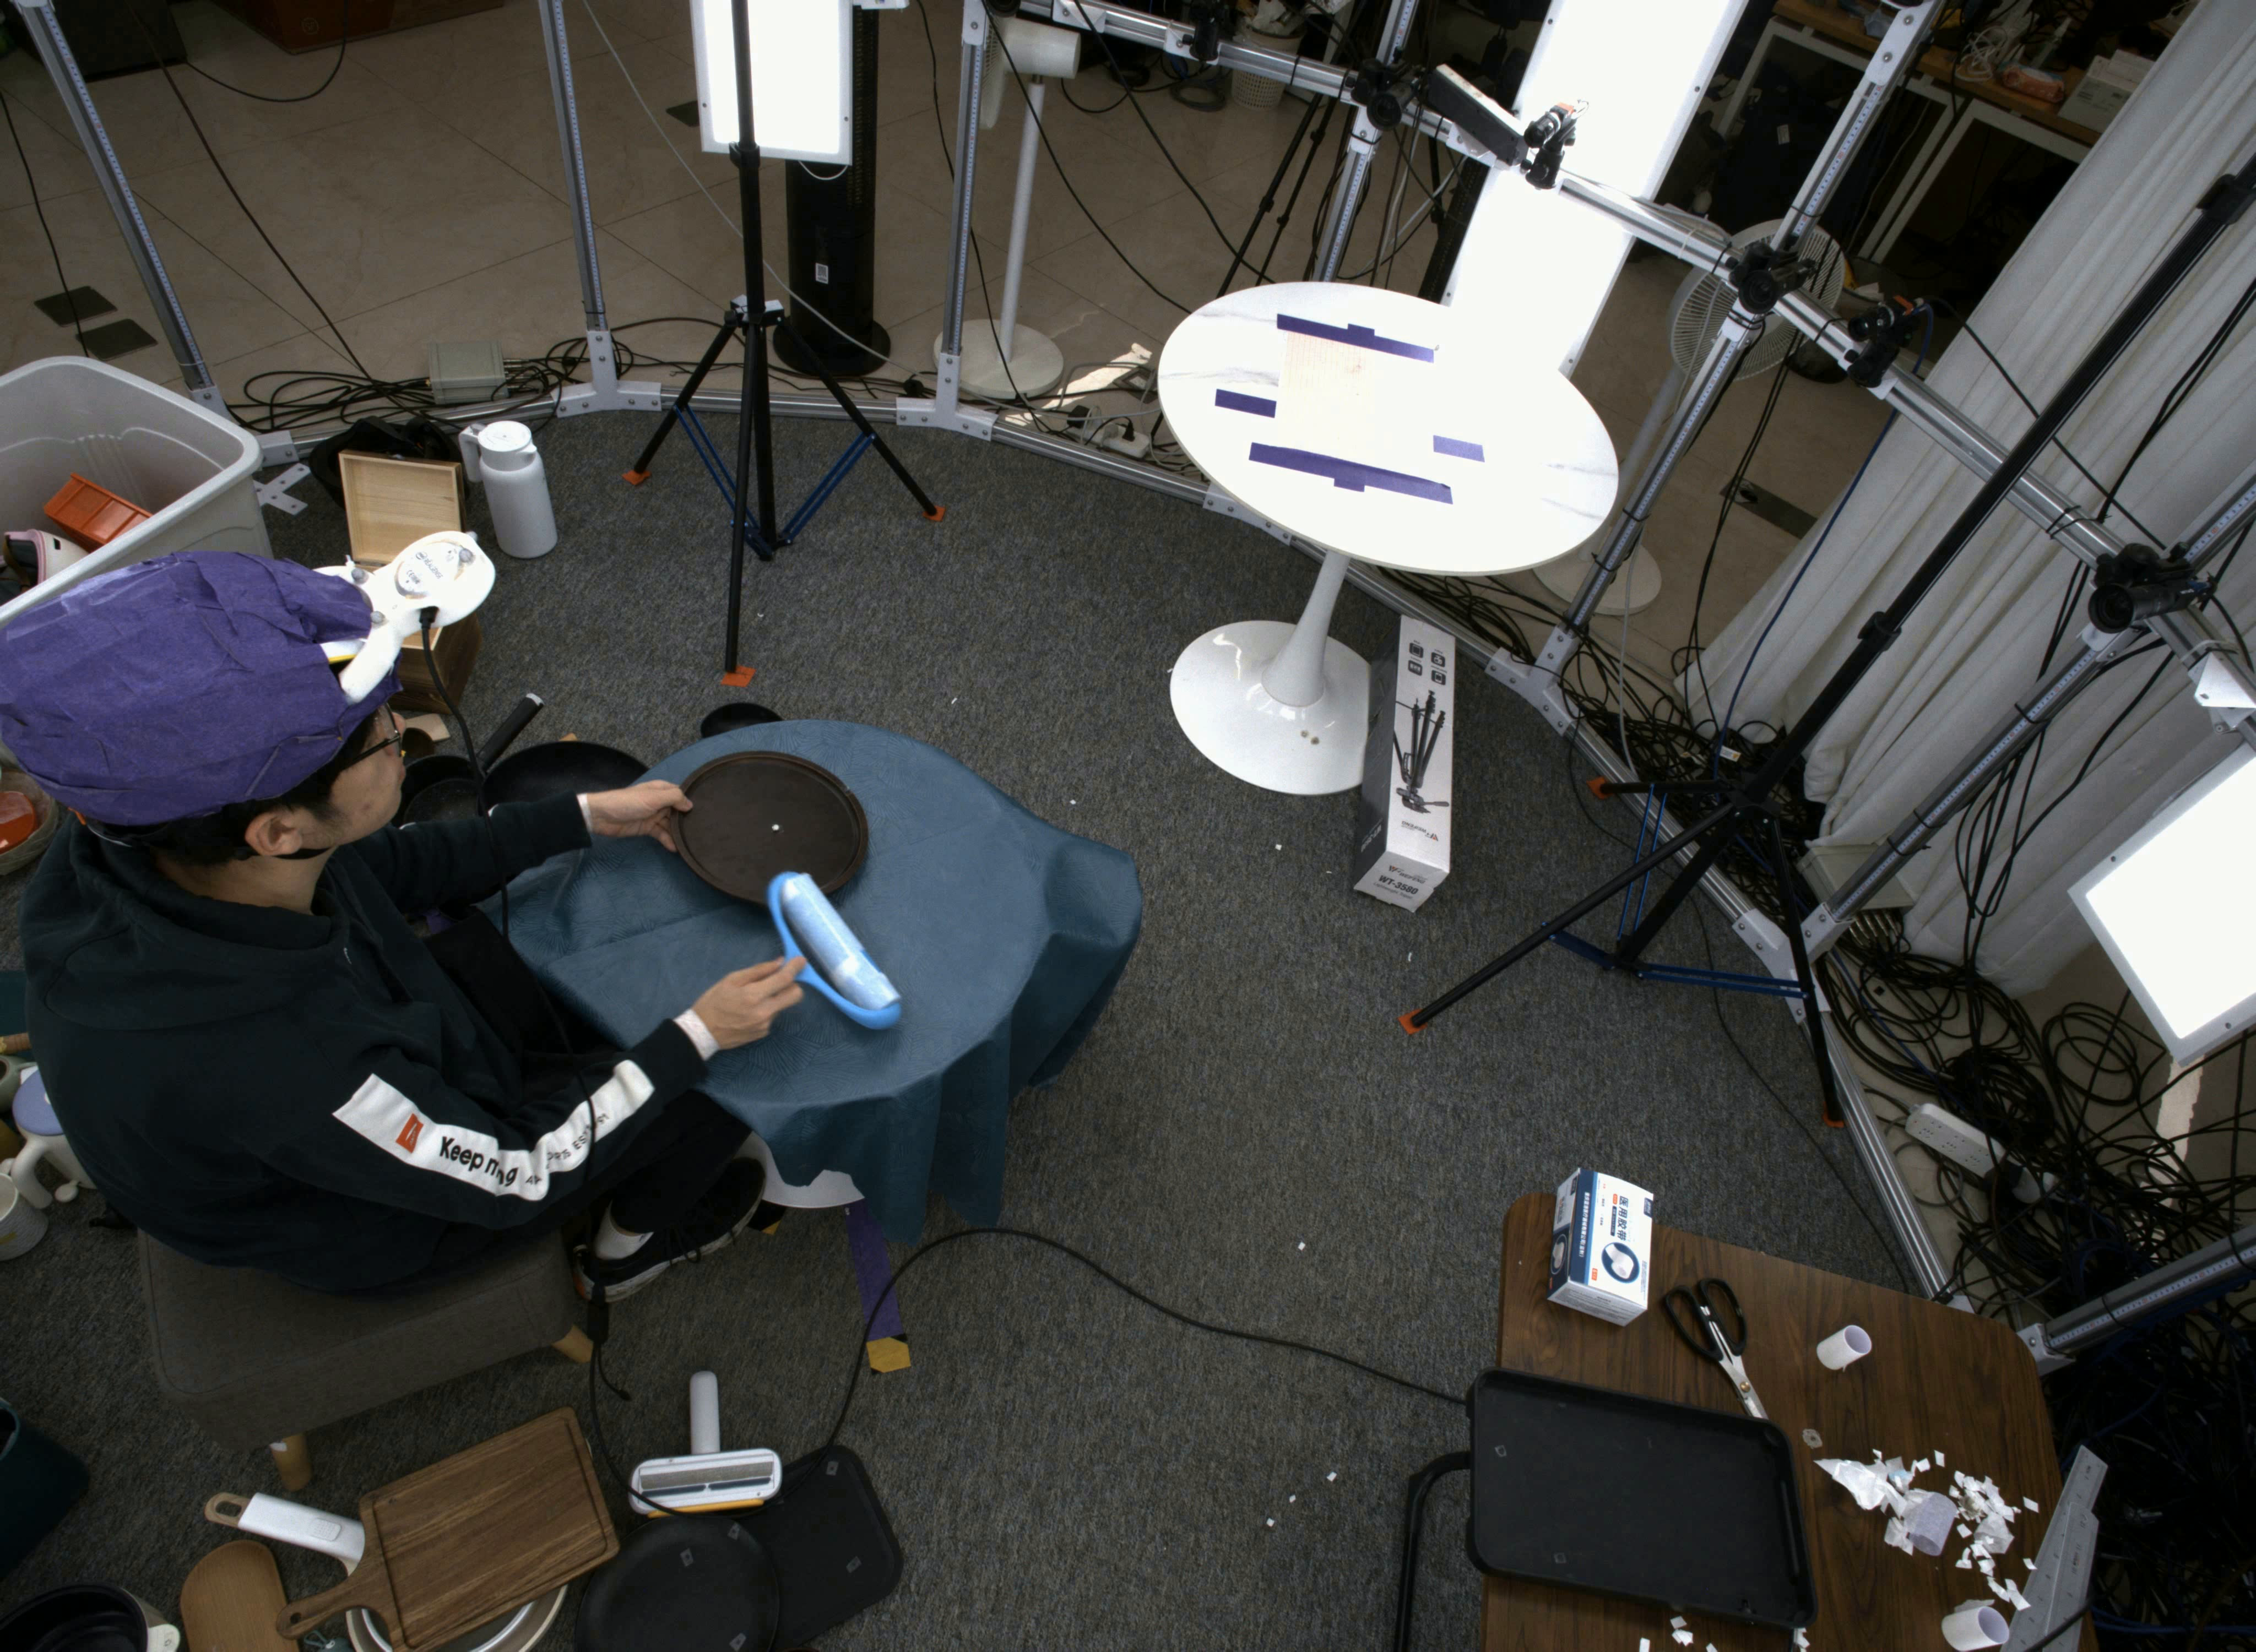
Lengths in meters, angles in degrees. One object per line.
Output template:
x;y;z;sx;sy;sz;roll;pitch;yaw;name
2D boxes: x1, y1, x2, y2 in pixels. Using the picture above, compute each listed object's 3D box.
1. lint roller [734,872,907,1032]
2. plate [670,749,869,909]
-0.387;0.177;1.539;0.180;0.068;0.228;-38;85;-29;lint roller
-0.464;0.002;1.680;0.257;0.029;0.250;15;48;-16;plate
